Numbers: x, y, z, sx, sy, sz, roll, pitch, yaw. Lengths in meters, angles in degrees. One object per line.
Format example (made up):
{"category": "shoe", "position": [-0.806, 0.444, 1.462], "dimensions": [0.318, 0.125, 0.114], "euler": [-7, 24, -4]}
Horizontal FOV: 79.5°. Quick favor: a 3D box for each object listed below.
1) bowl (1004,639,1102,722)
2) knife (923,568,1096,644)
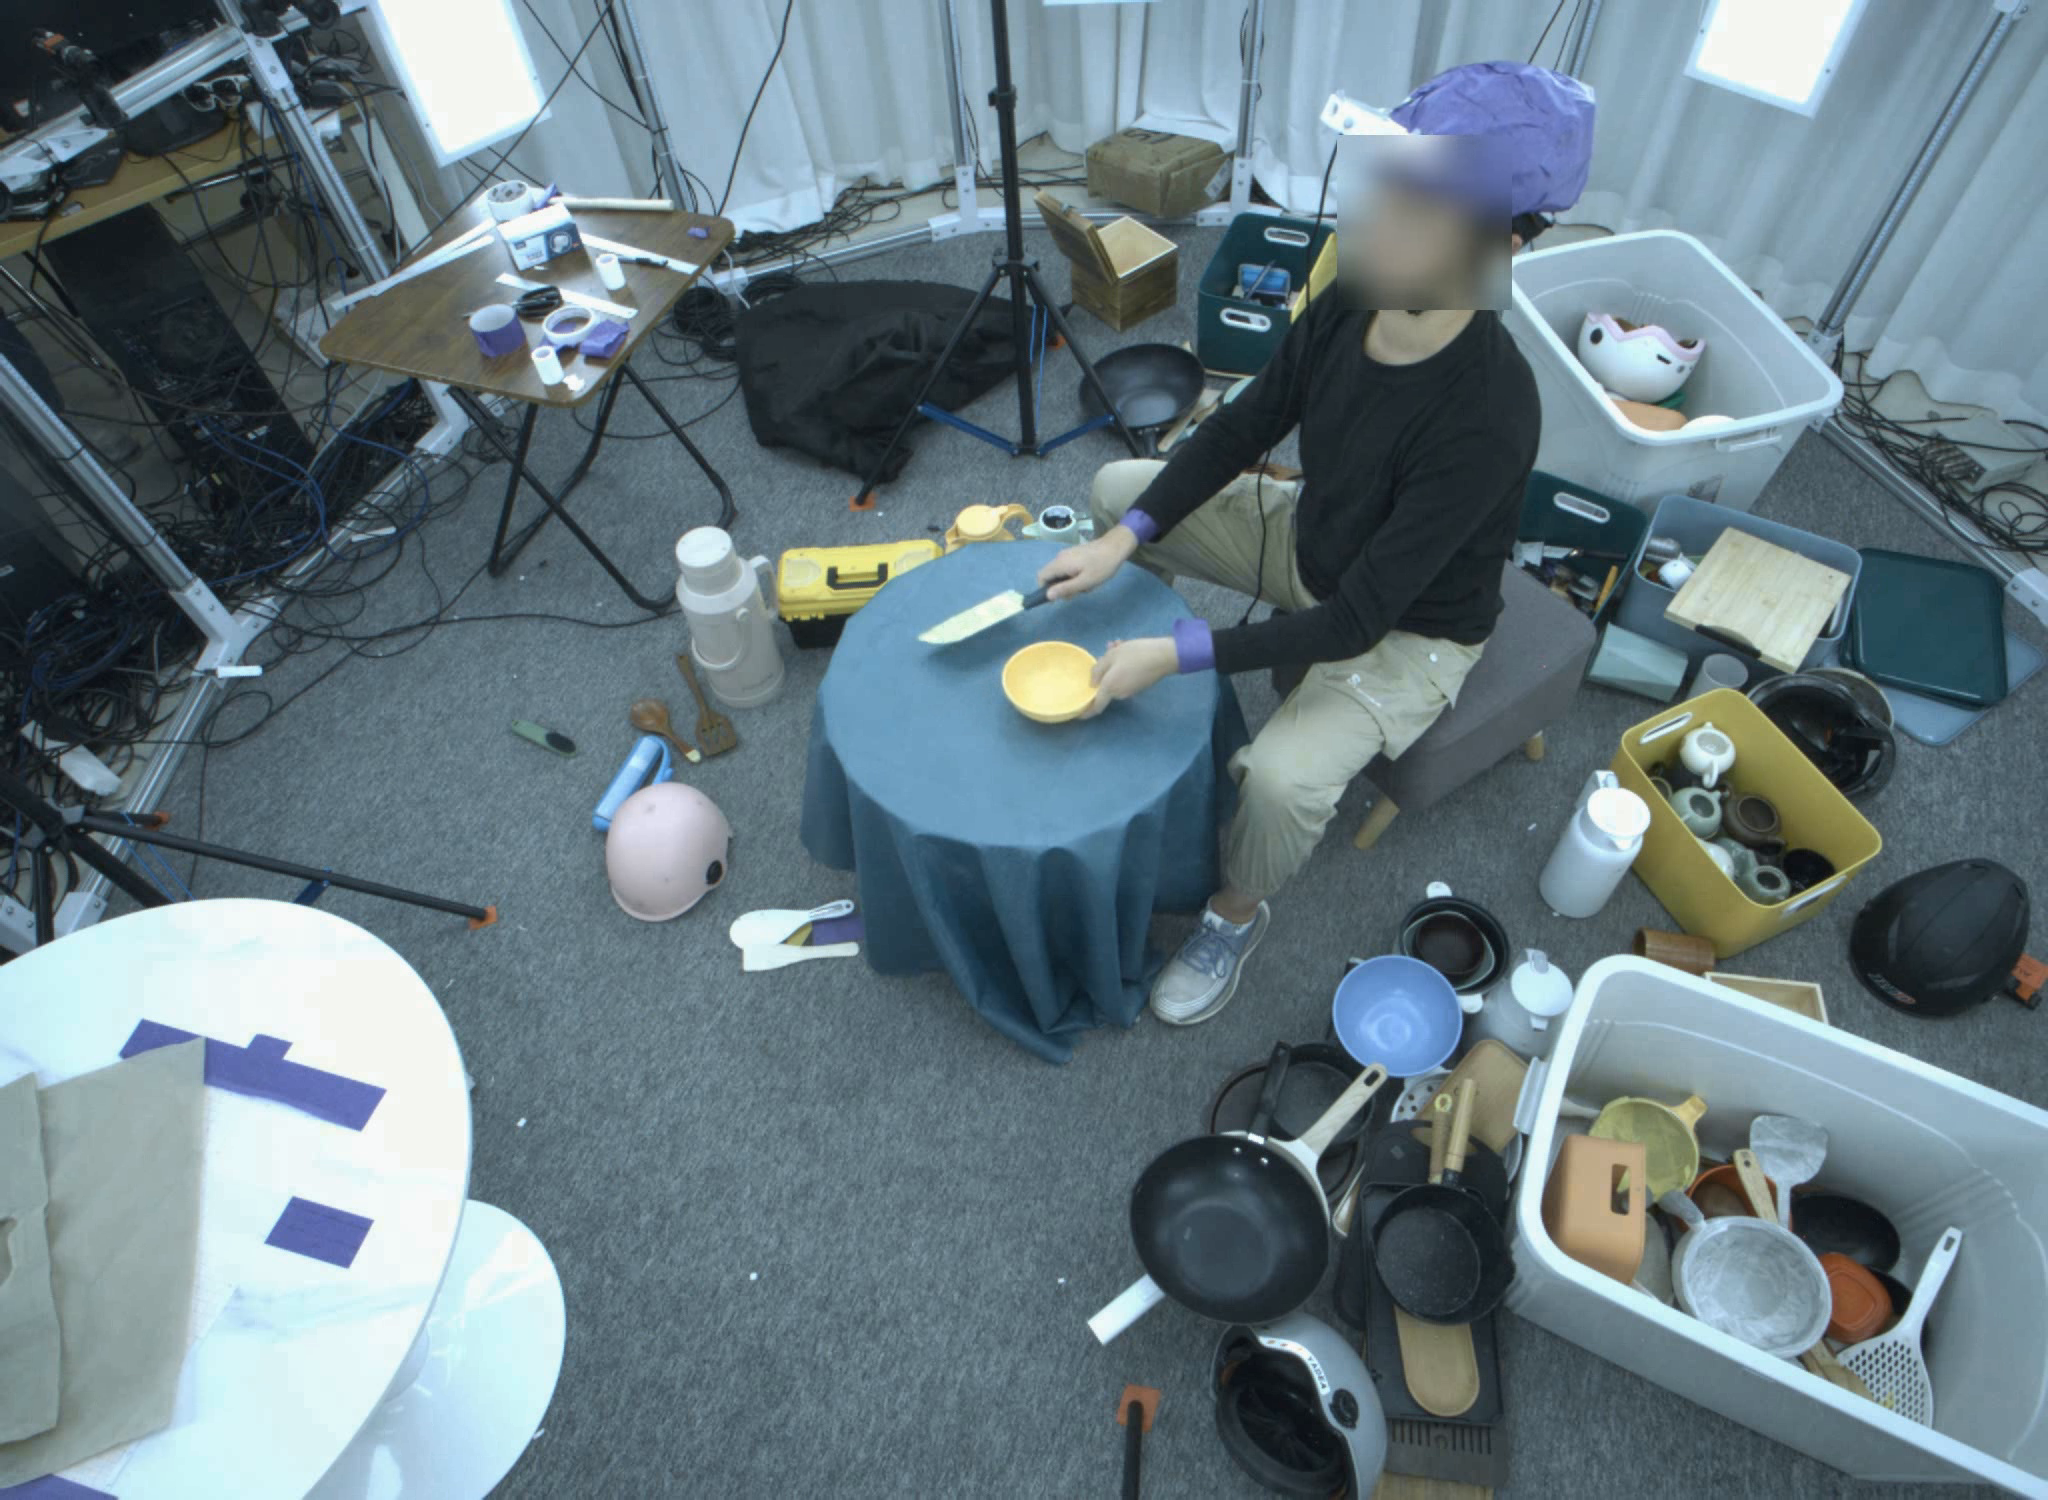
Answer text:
{"category": "bowl", "position": [0.043, -0.090, 1.808], "dimensions": [0.145, 0.061, 0.144], "euler": [0, 54, 1]}
{"category": "knife", "position": [-0.023, -0.223, 1.885], "dimensions": [0.292, 0.027, 0.079], "euler": [-24, 38, -14]}
